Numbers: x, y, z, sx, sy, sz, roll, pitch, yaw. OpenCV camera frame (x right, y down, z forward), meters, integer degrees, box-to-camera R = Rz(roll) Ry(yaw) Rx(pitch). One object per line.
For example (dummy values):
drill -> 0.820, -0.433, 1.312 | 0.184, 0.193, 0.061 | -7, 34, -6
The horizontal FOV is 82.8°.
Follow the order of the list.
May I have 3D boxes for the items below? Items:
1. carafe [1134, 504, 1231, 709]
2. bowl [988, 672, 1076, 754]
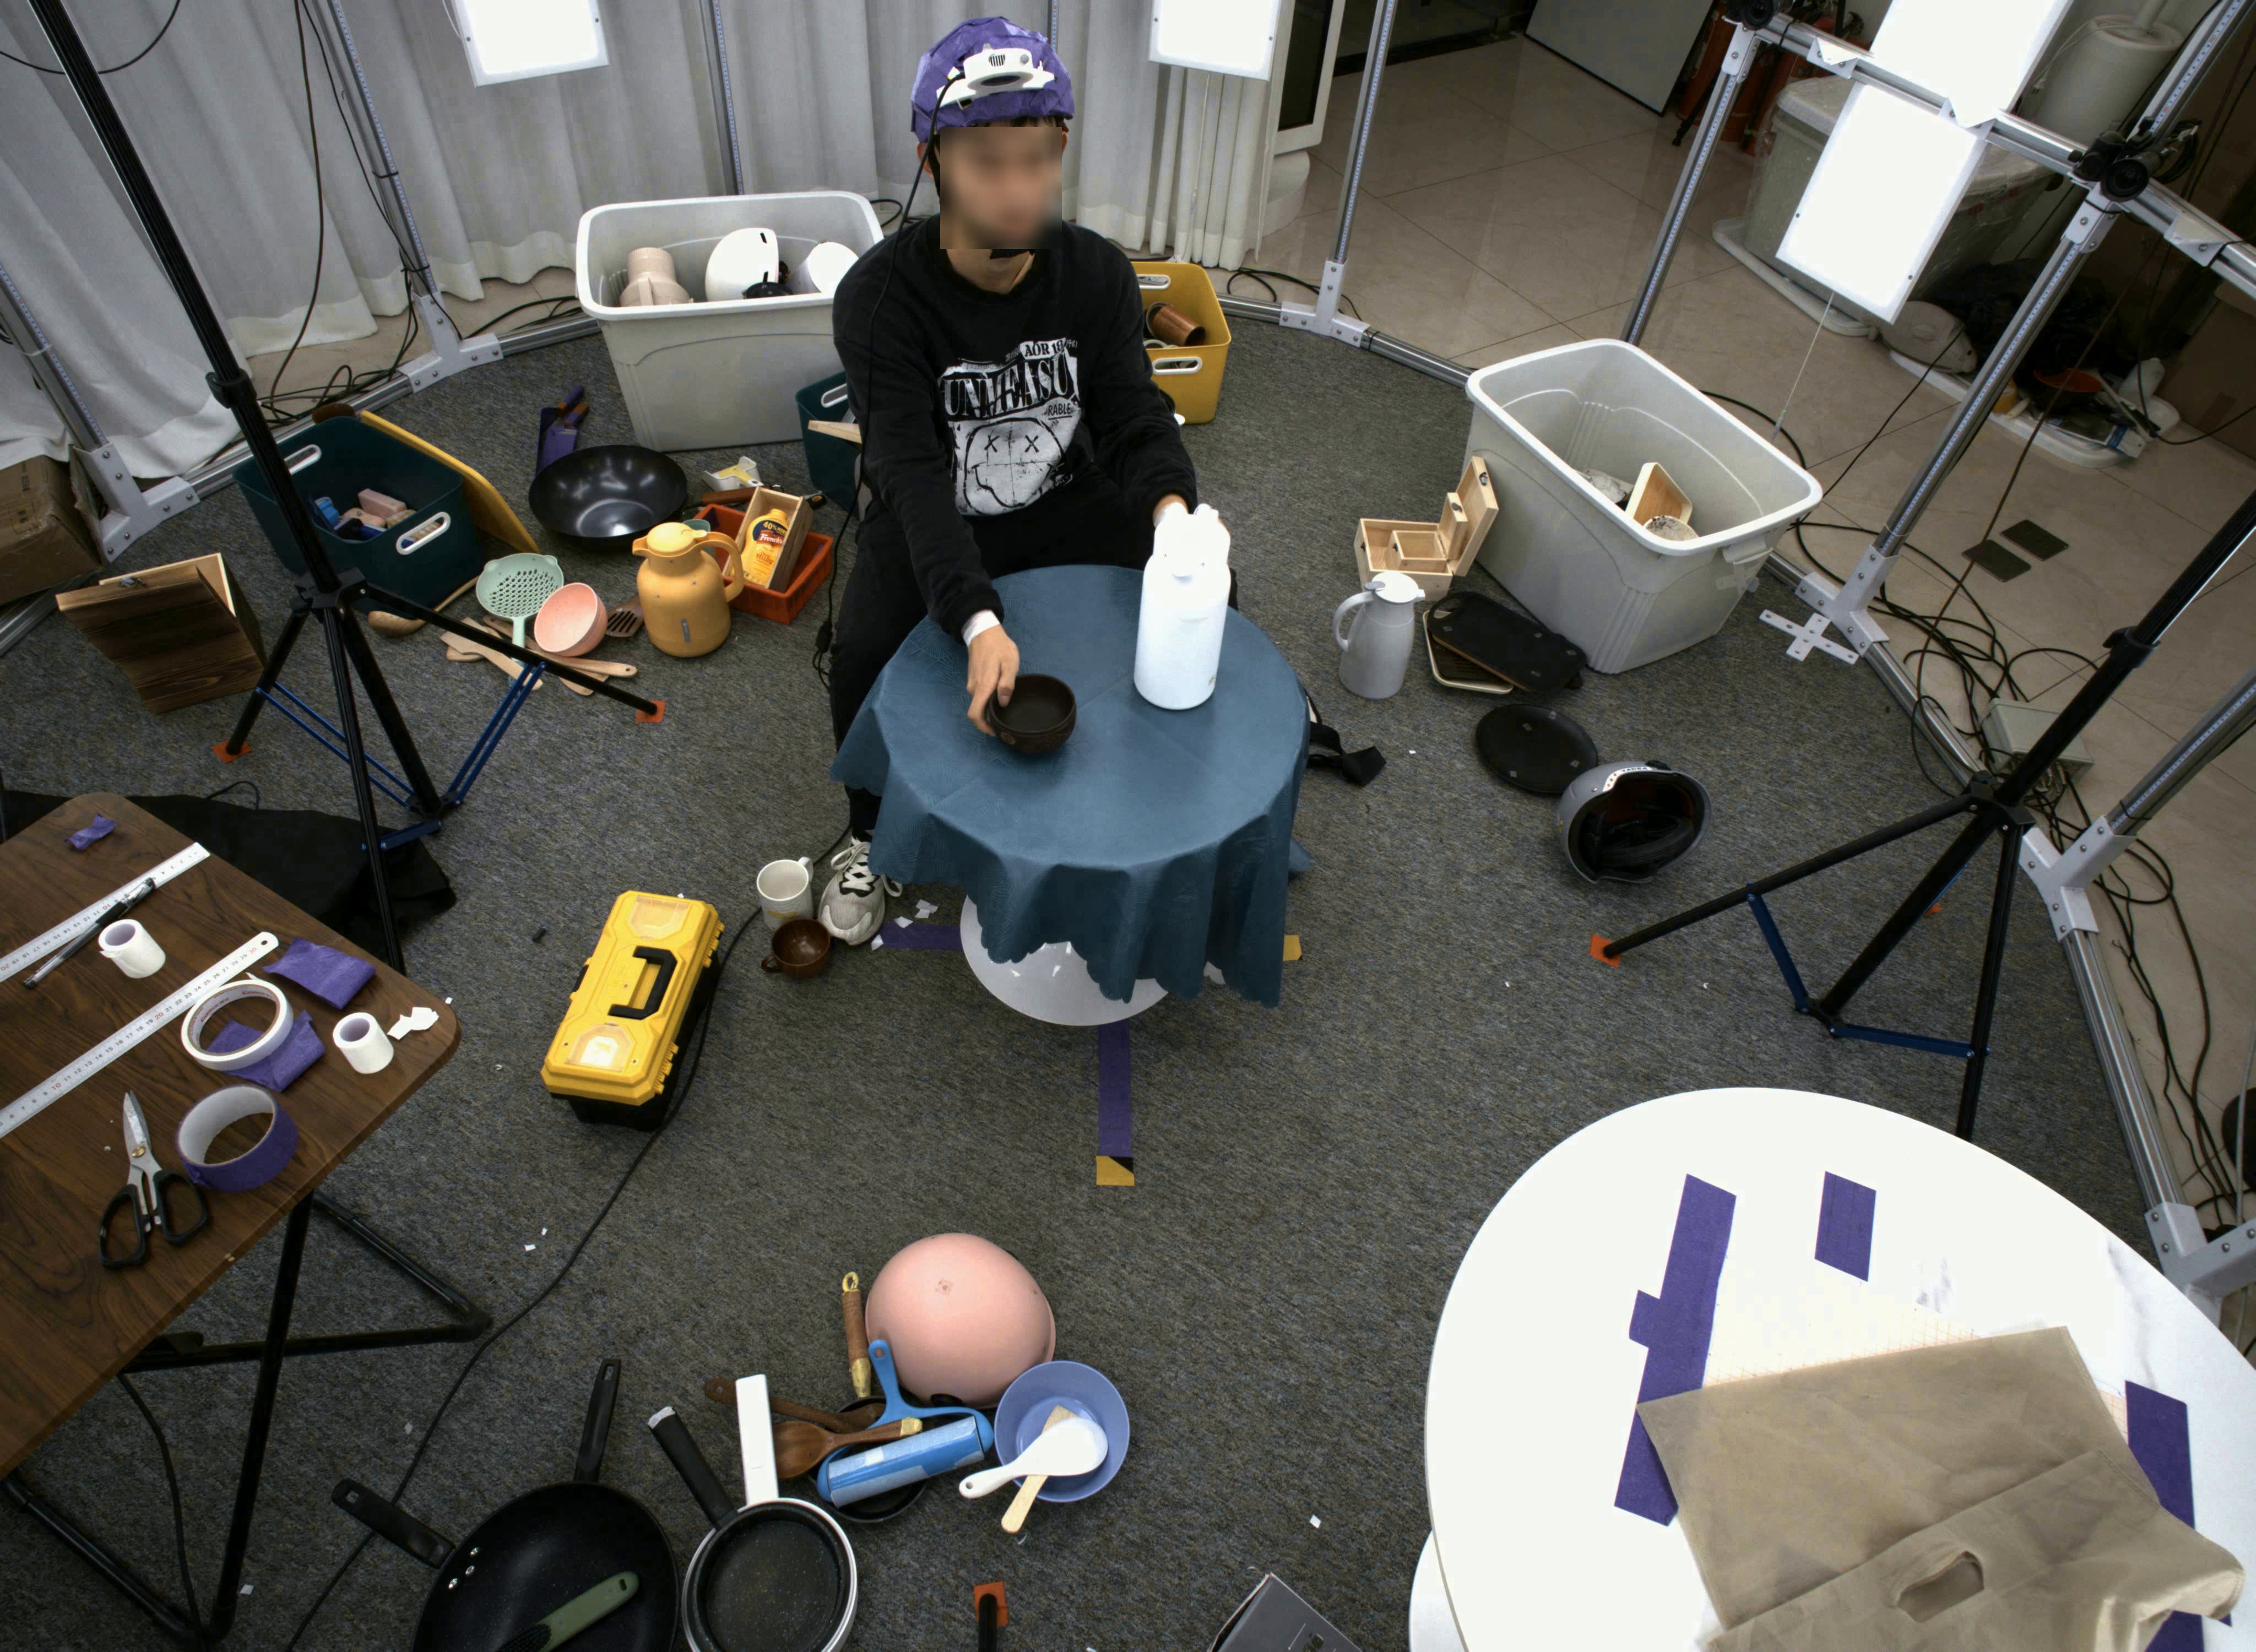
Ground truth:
carafe -> 0.077, -0.303, 1.764 | 0.124, 0.262, 0.176 | 12, 50, 9
bowl -> -0.128, -0.145, 1.736 | 0.118, 0.068, 0.121 | -1, 49, 1
